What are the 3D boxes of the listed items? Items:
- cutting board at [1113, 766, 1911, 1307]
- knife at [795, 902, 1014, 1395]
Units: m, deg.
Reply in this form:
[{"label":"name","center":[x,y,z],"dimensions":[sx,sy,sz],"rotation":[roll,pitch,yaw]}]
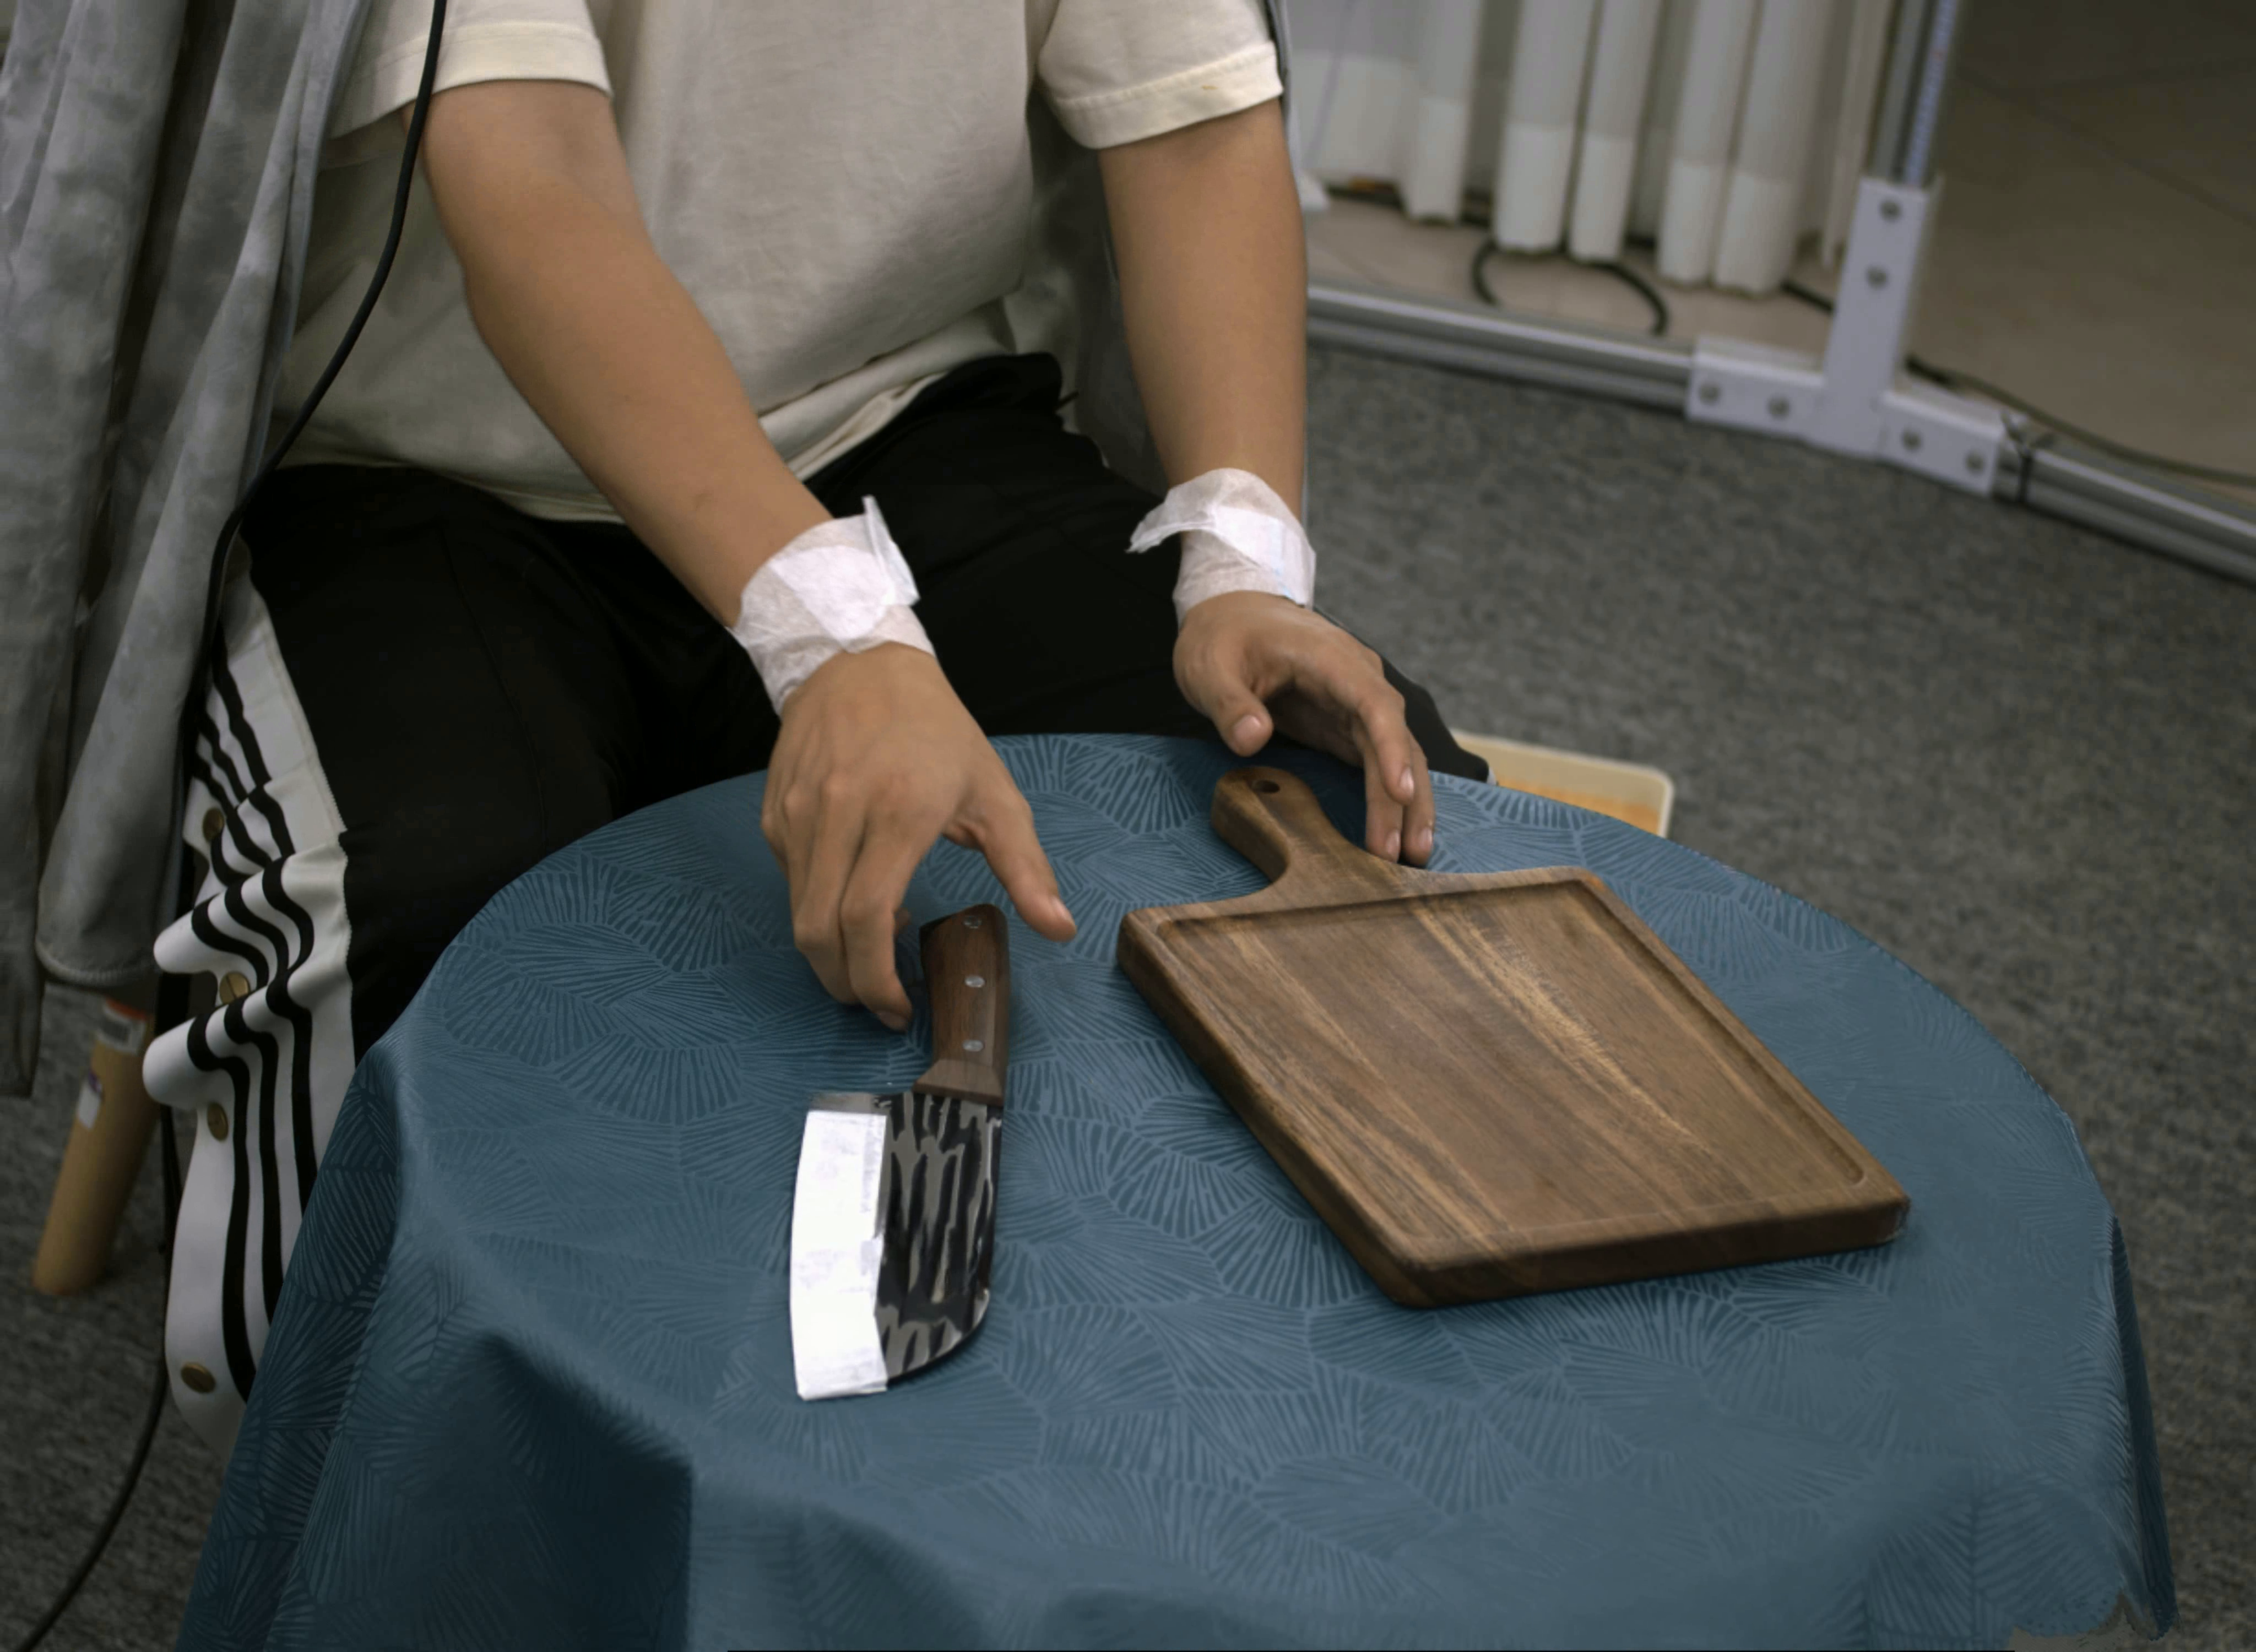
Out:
[{"label":"cutting board","center":[0.112,0.064,1.924],"dimensions":[0.200,0.023,0.355],"rotation":[-6,29,-23]},{"label":"knife","center":[-0.074,0.106,1.800],"dimensions":[0.068,0.024,0.301],"rotation":[4,30,1]}]
